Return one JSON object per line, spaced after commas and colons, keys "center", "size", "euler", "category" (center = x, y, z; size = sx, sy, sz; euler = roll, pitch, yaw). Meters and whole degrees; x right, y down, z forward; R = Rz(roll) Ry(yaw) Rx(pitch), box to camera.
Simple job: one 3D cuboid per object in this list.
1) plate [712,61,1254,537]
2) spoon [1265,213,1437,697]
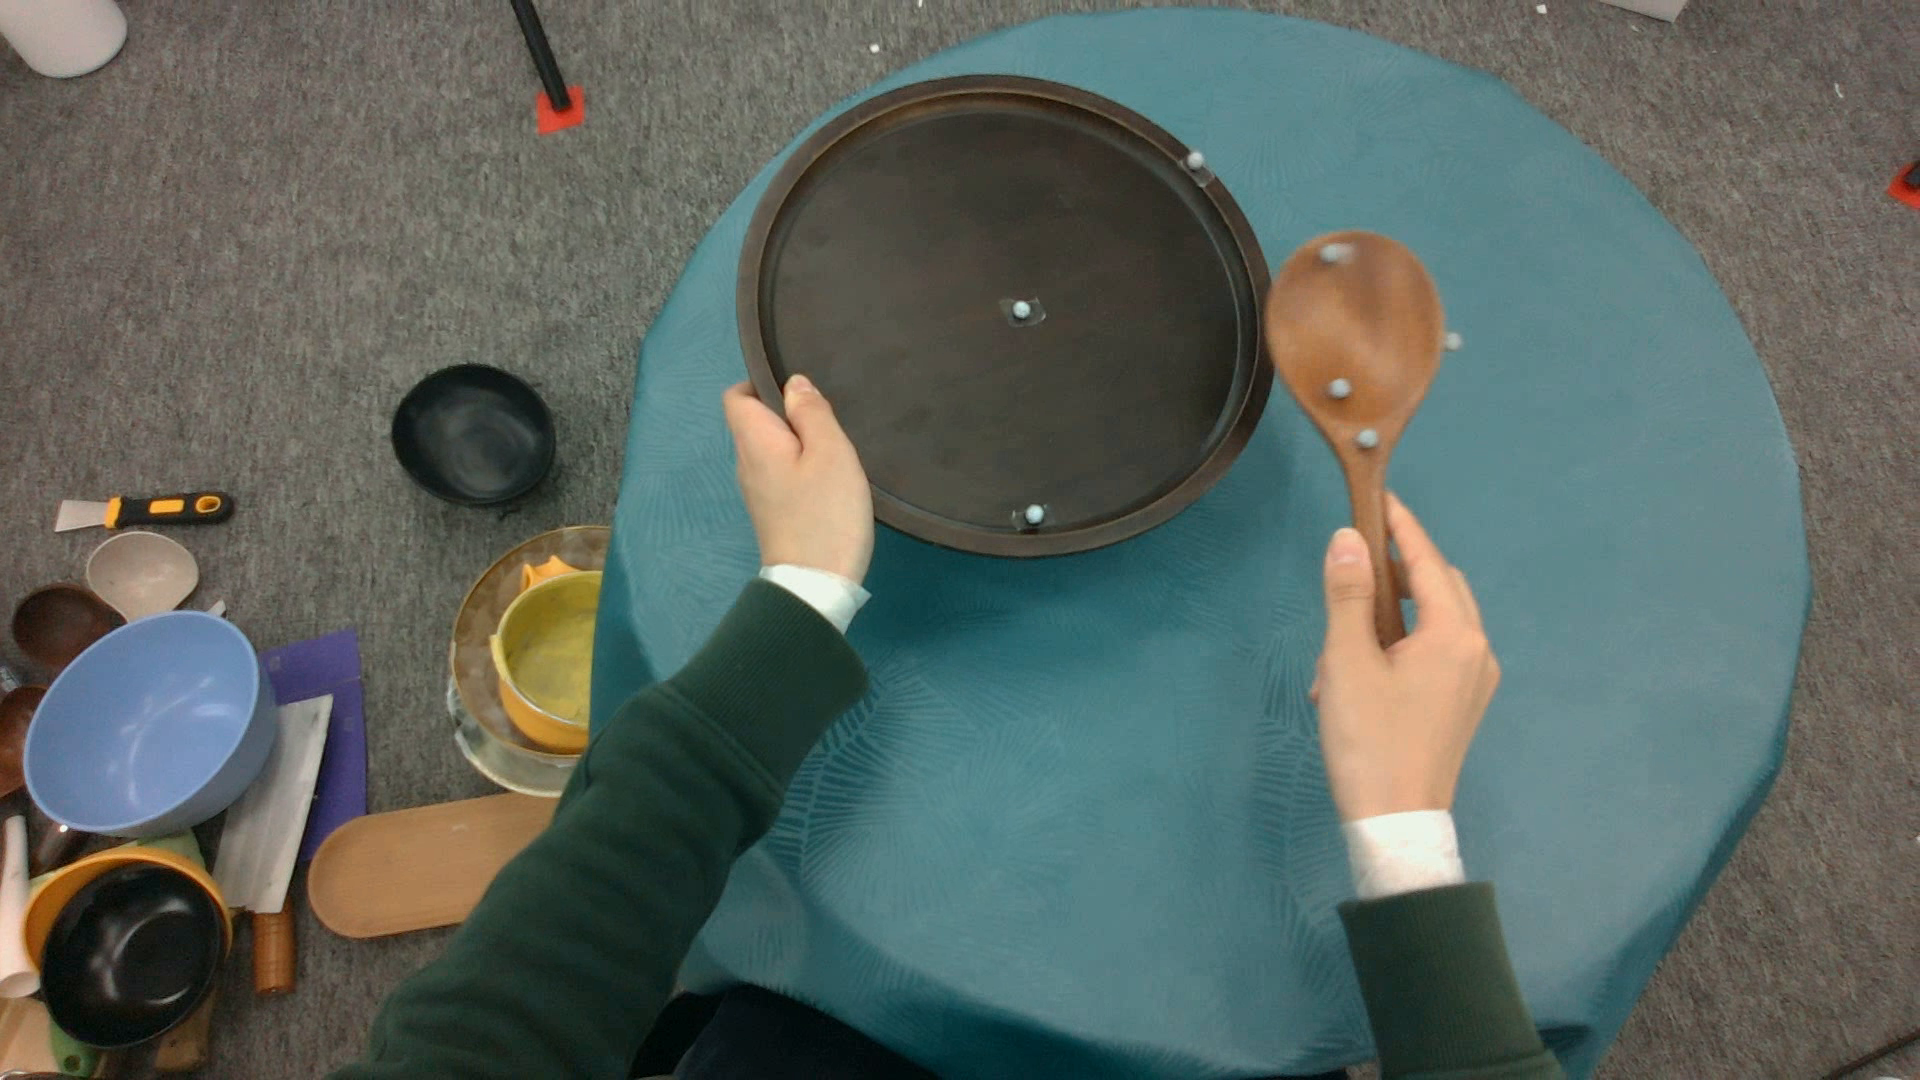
{"center": [0.012, -0.118, 0.646], "size": [0.255, 0.029, 0.255], "euler": [3, 67, -7], "category": "plate"}
{"center": [0.168, -0.040, 0.586], "size": [0.075, 0.017, 0.216], "euler": [2, 73, 1], "category": "spoon"}
